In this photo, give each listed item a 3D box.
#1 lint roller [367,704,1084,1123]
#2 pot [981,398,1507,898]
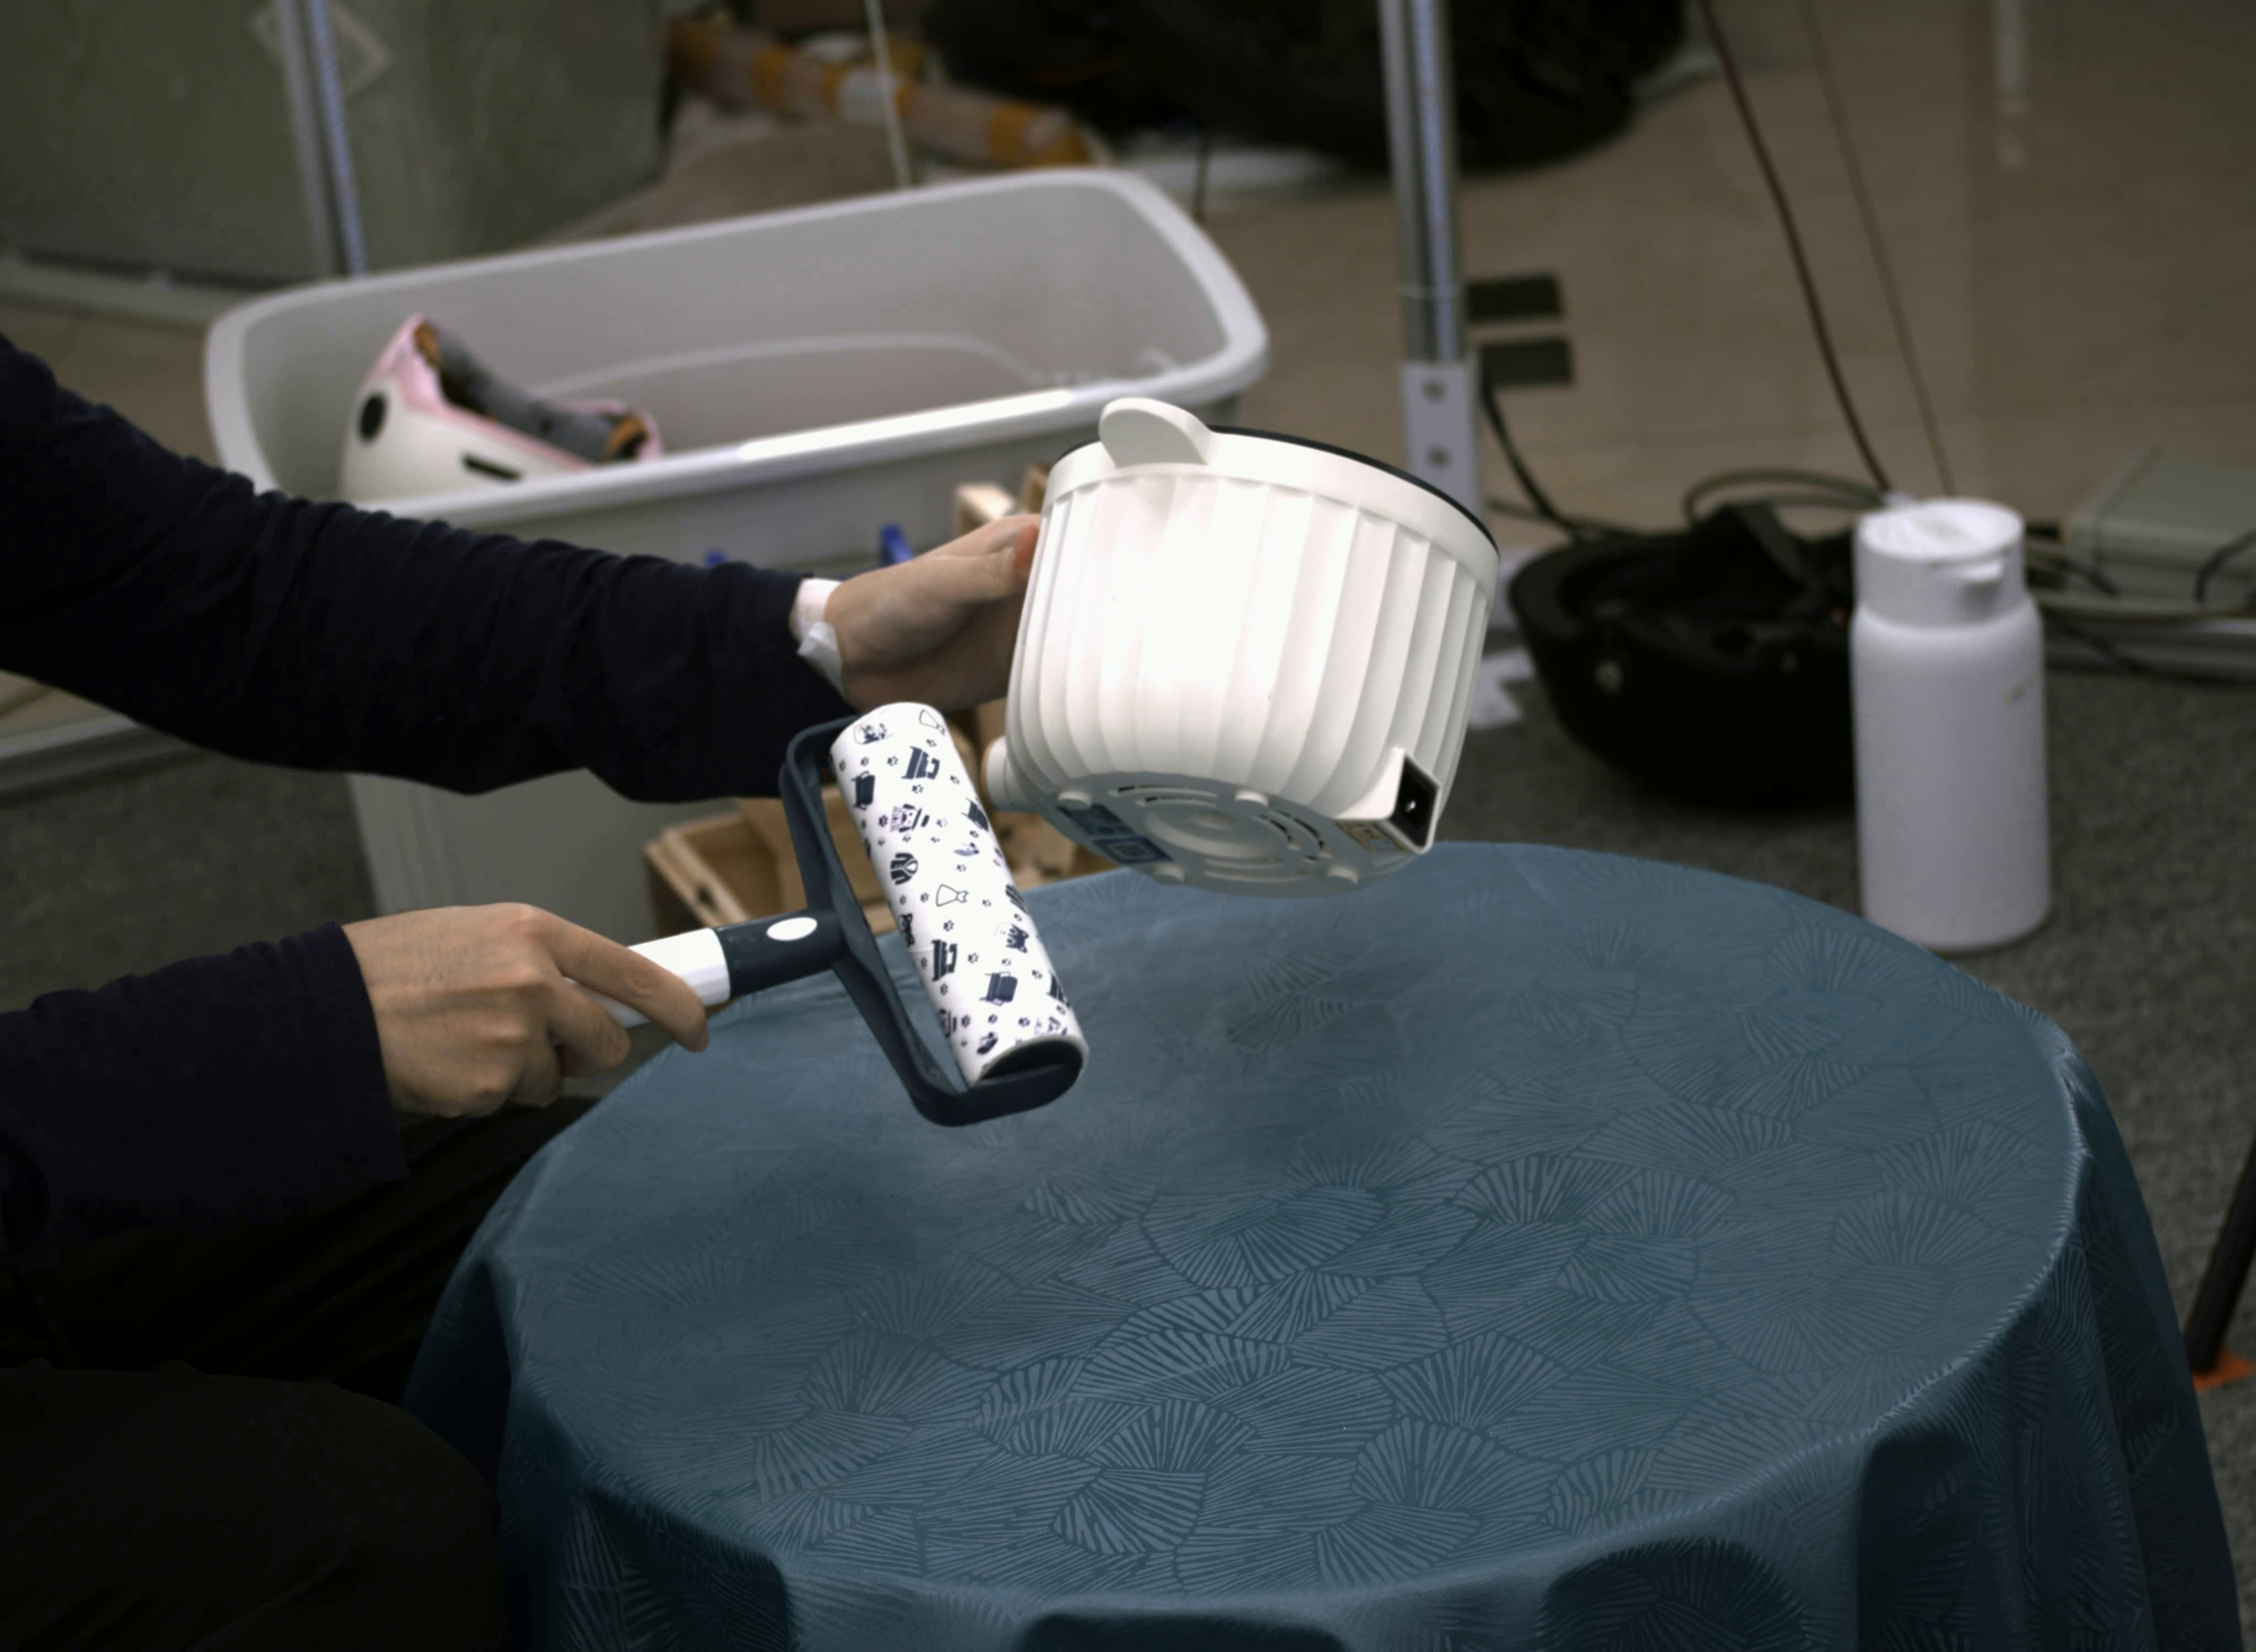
[{"bbox_3d":[-0.157,0.053,2.064,0.246,0.051,0.173,-15,57,-18],"label":"lint roller"},{"bbox_3d":[0.040,-0.058,2.195,0.190,0.243,0.141,4,69,30],"label":"pot"}]
